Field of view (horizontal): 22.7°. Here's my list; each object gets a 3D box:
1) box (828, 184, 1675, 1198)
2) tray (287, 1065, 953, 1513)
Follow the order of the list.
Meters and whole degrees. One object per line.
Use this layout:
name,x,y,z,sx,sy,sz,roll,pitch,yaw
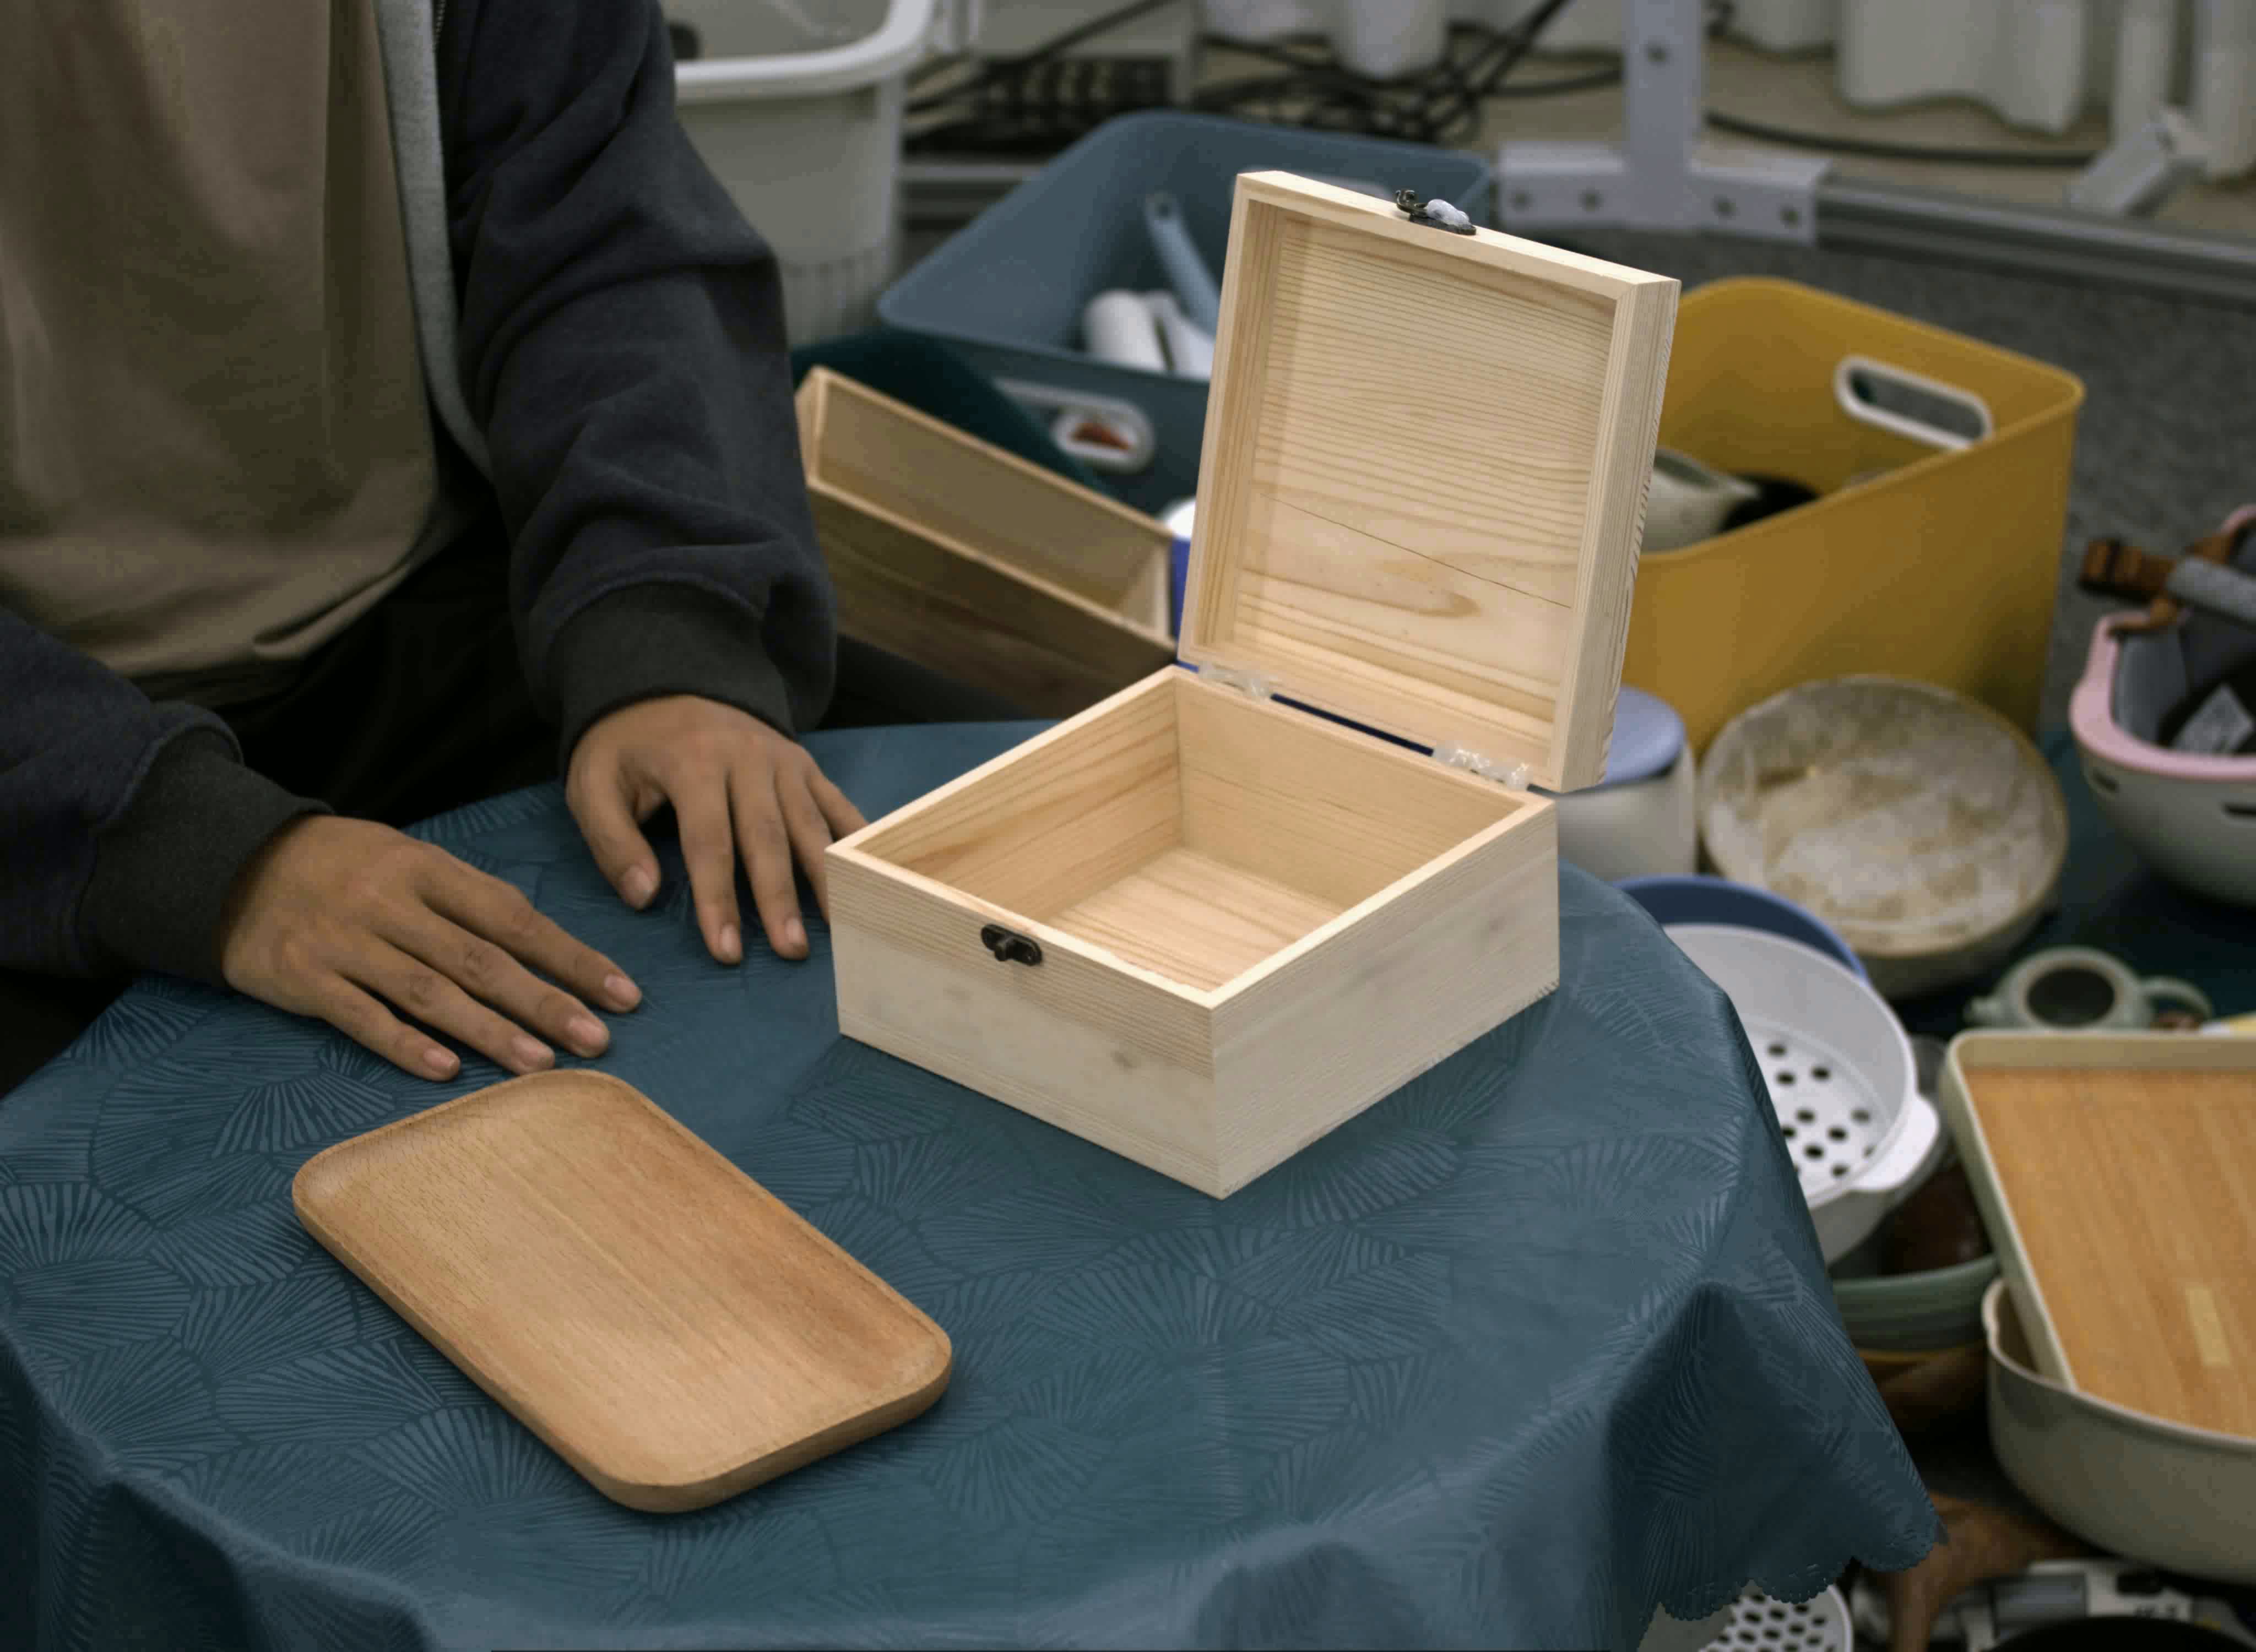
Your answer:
box,0.041,-0.056,1.940,0.181,0.251,0.268,16,31,39
tray,-0.167,0.147,1.811,0.131,0.022,0.251,-17,30,-30
